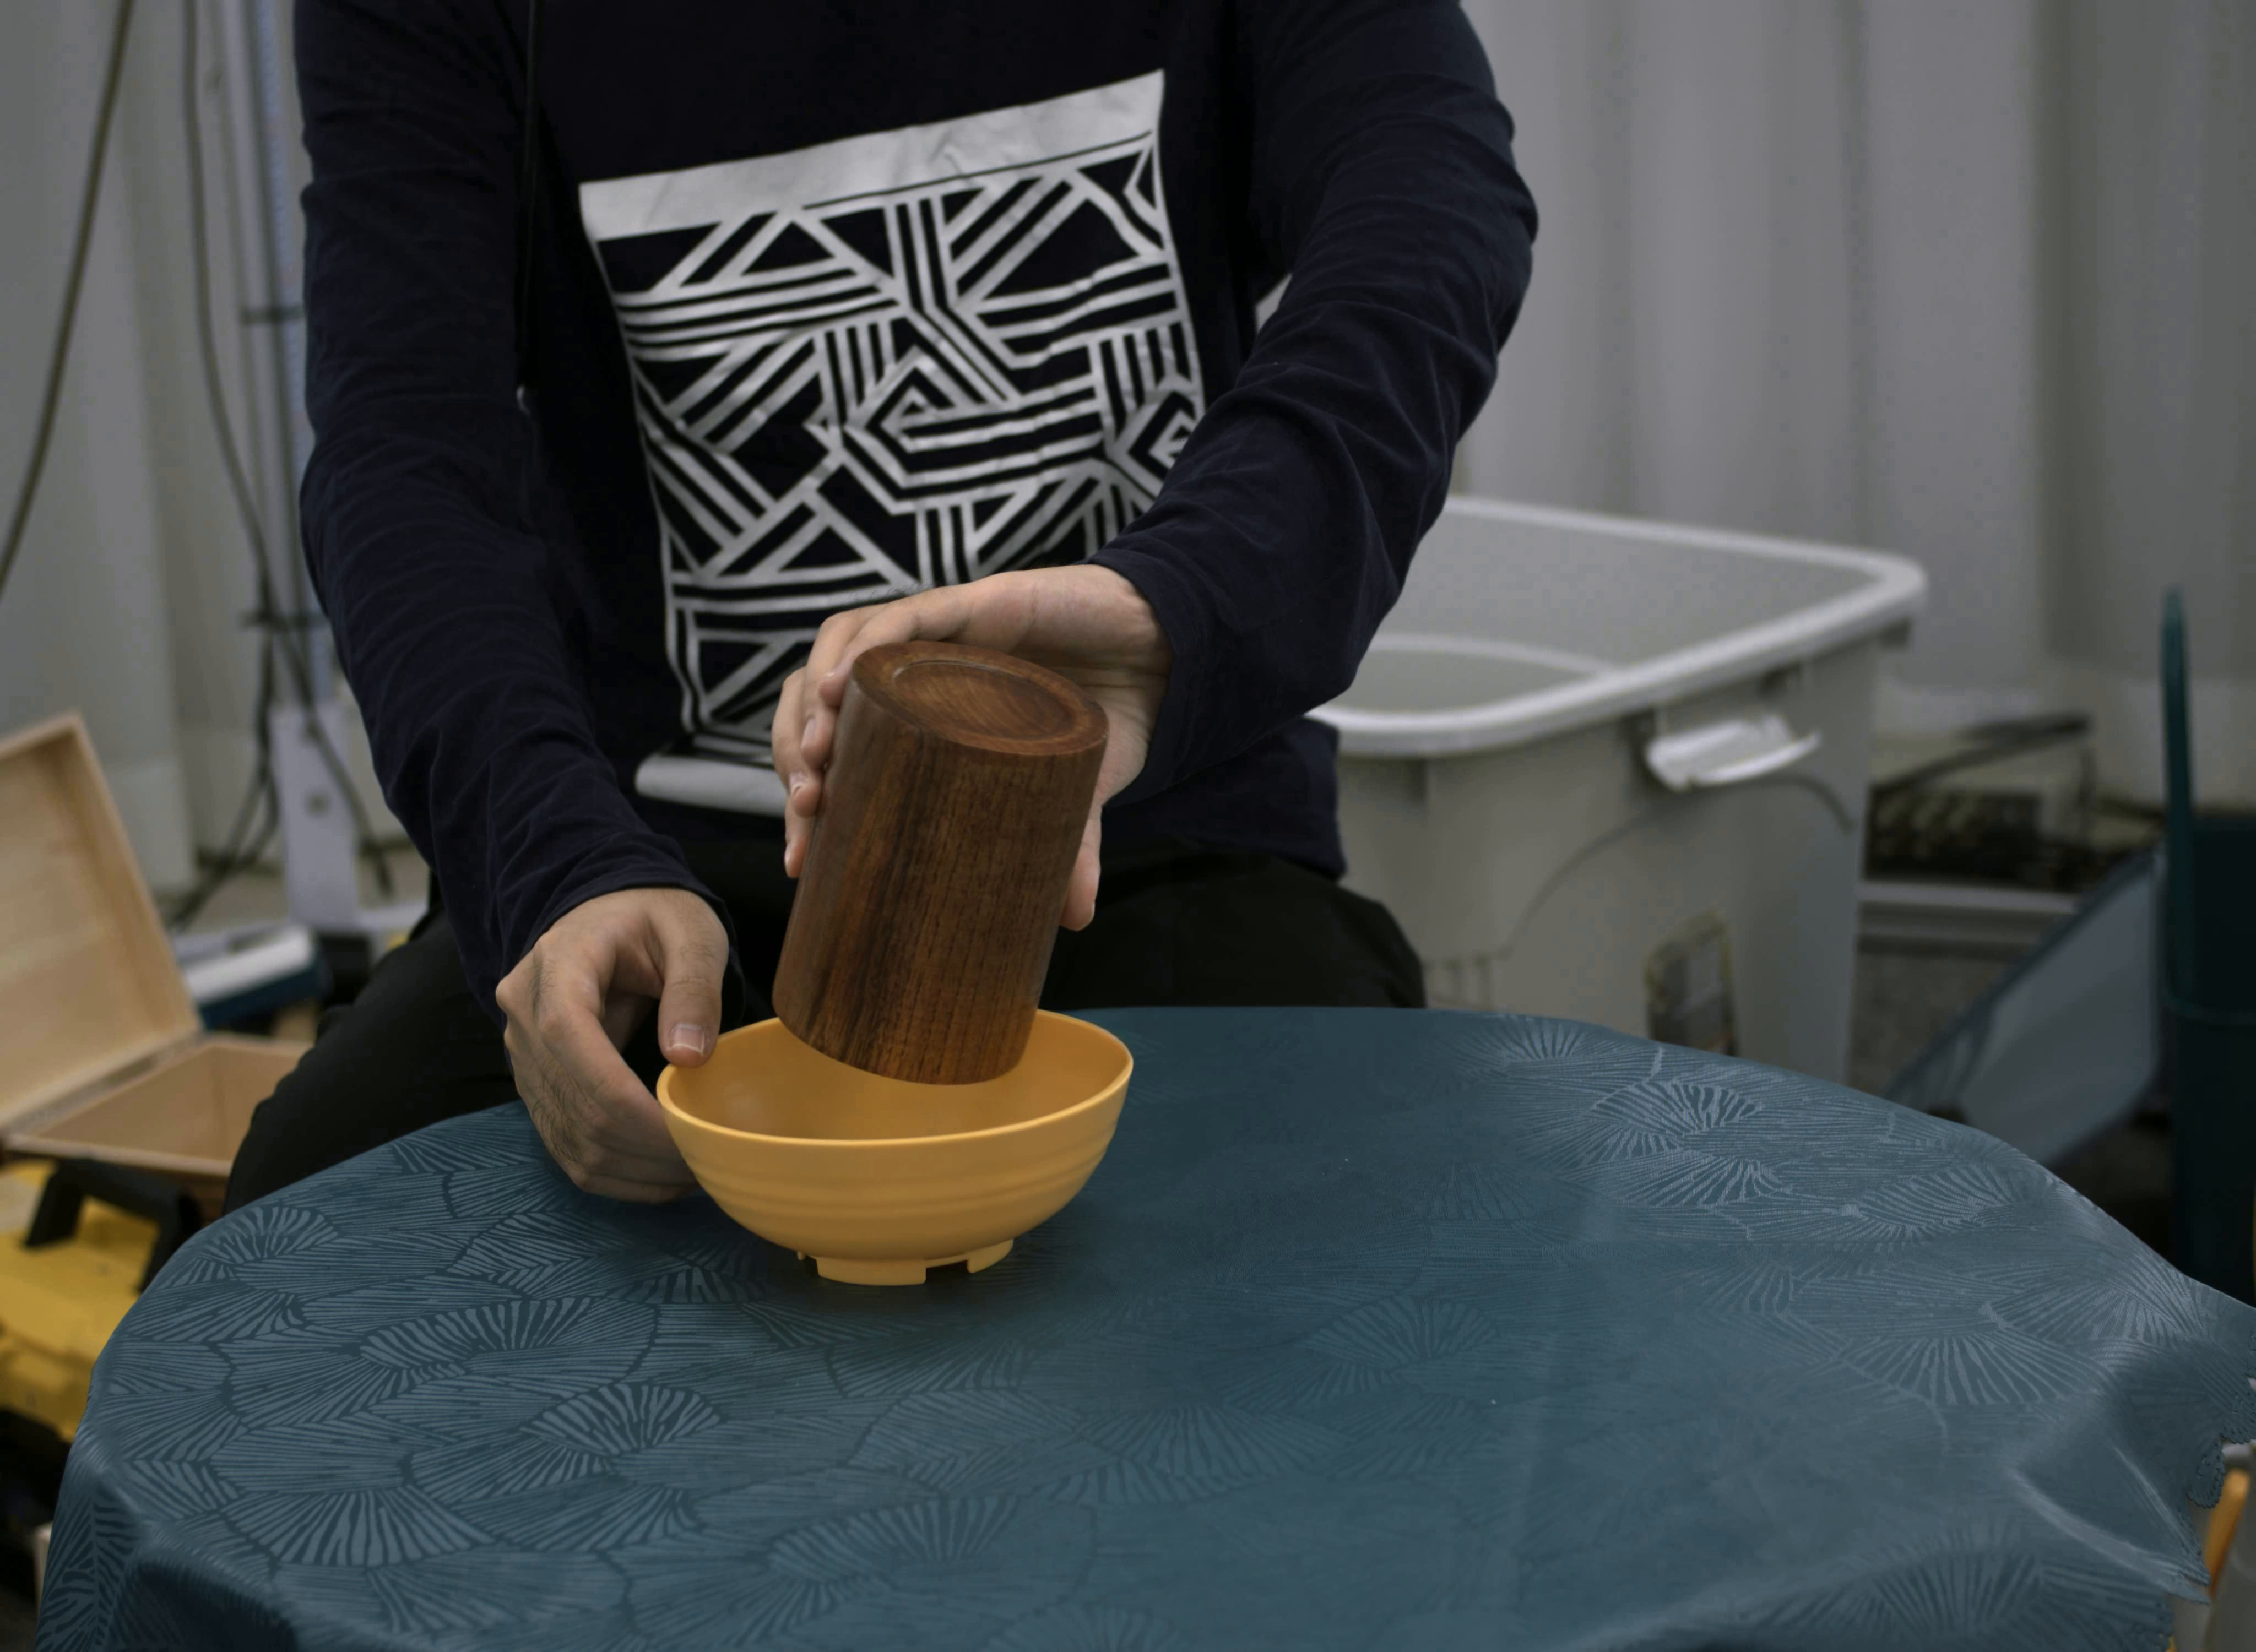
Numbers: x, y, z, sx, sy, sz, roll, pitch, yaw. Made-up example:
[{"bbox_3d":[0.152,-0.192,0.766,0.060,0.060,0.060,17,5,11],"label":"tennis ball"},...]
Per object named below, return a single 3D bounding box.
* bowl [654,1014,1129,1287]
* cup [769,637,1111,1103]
[{"bbox_3d":[-0.071,0.102,1.664,0.145,0.060,0.146,-2,14,0],"label":"bowl"},{"bbox_3d":[-0.056,0.014,1.640,0.087,0.117,0.088,13,23,-6],"label":"cup"}]
